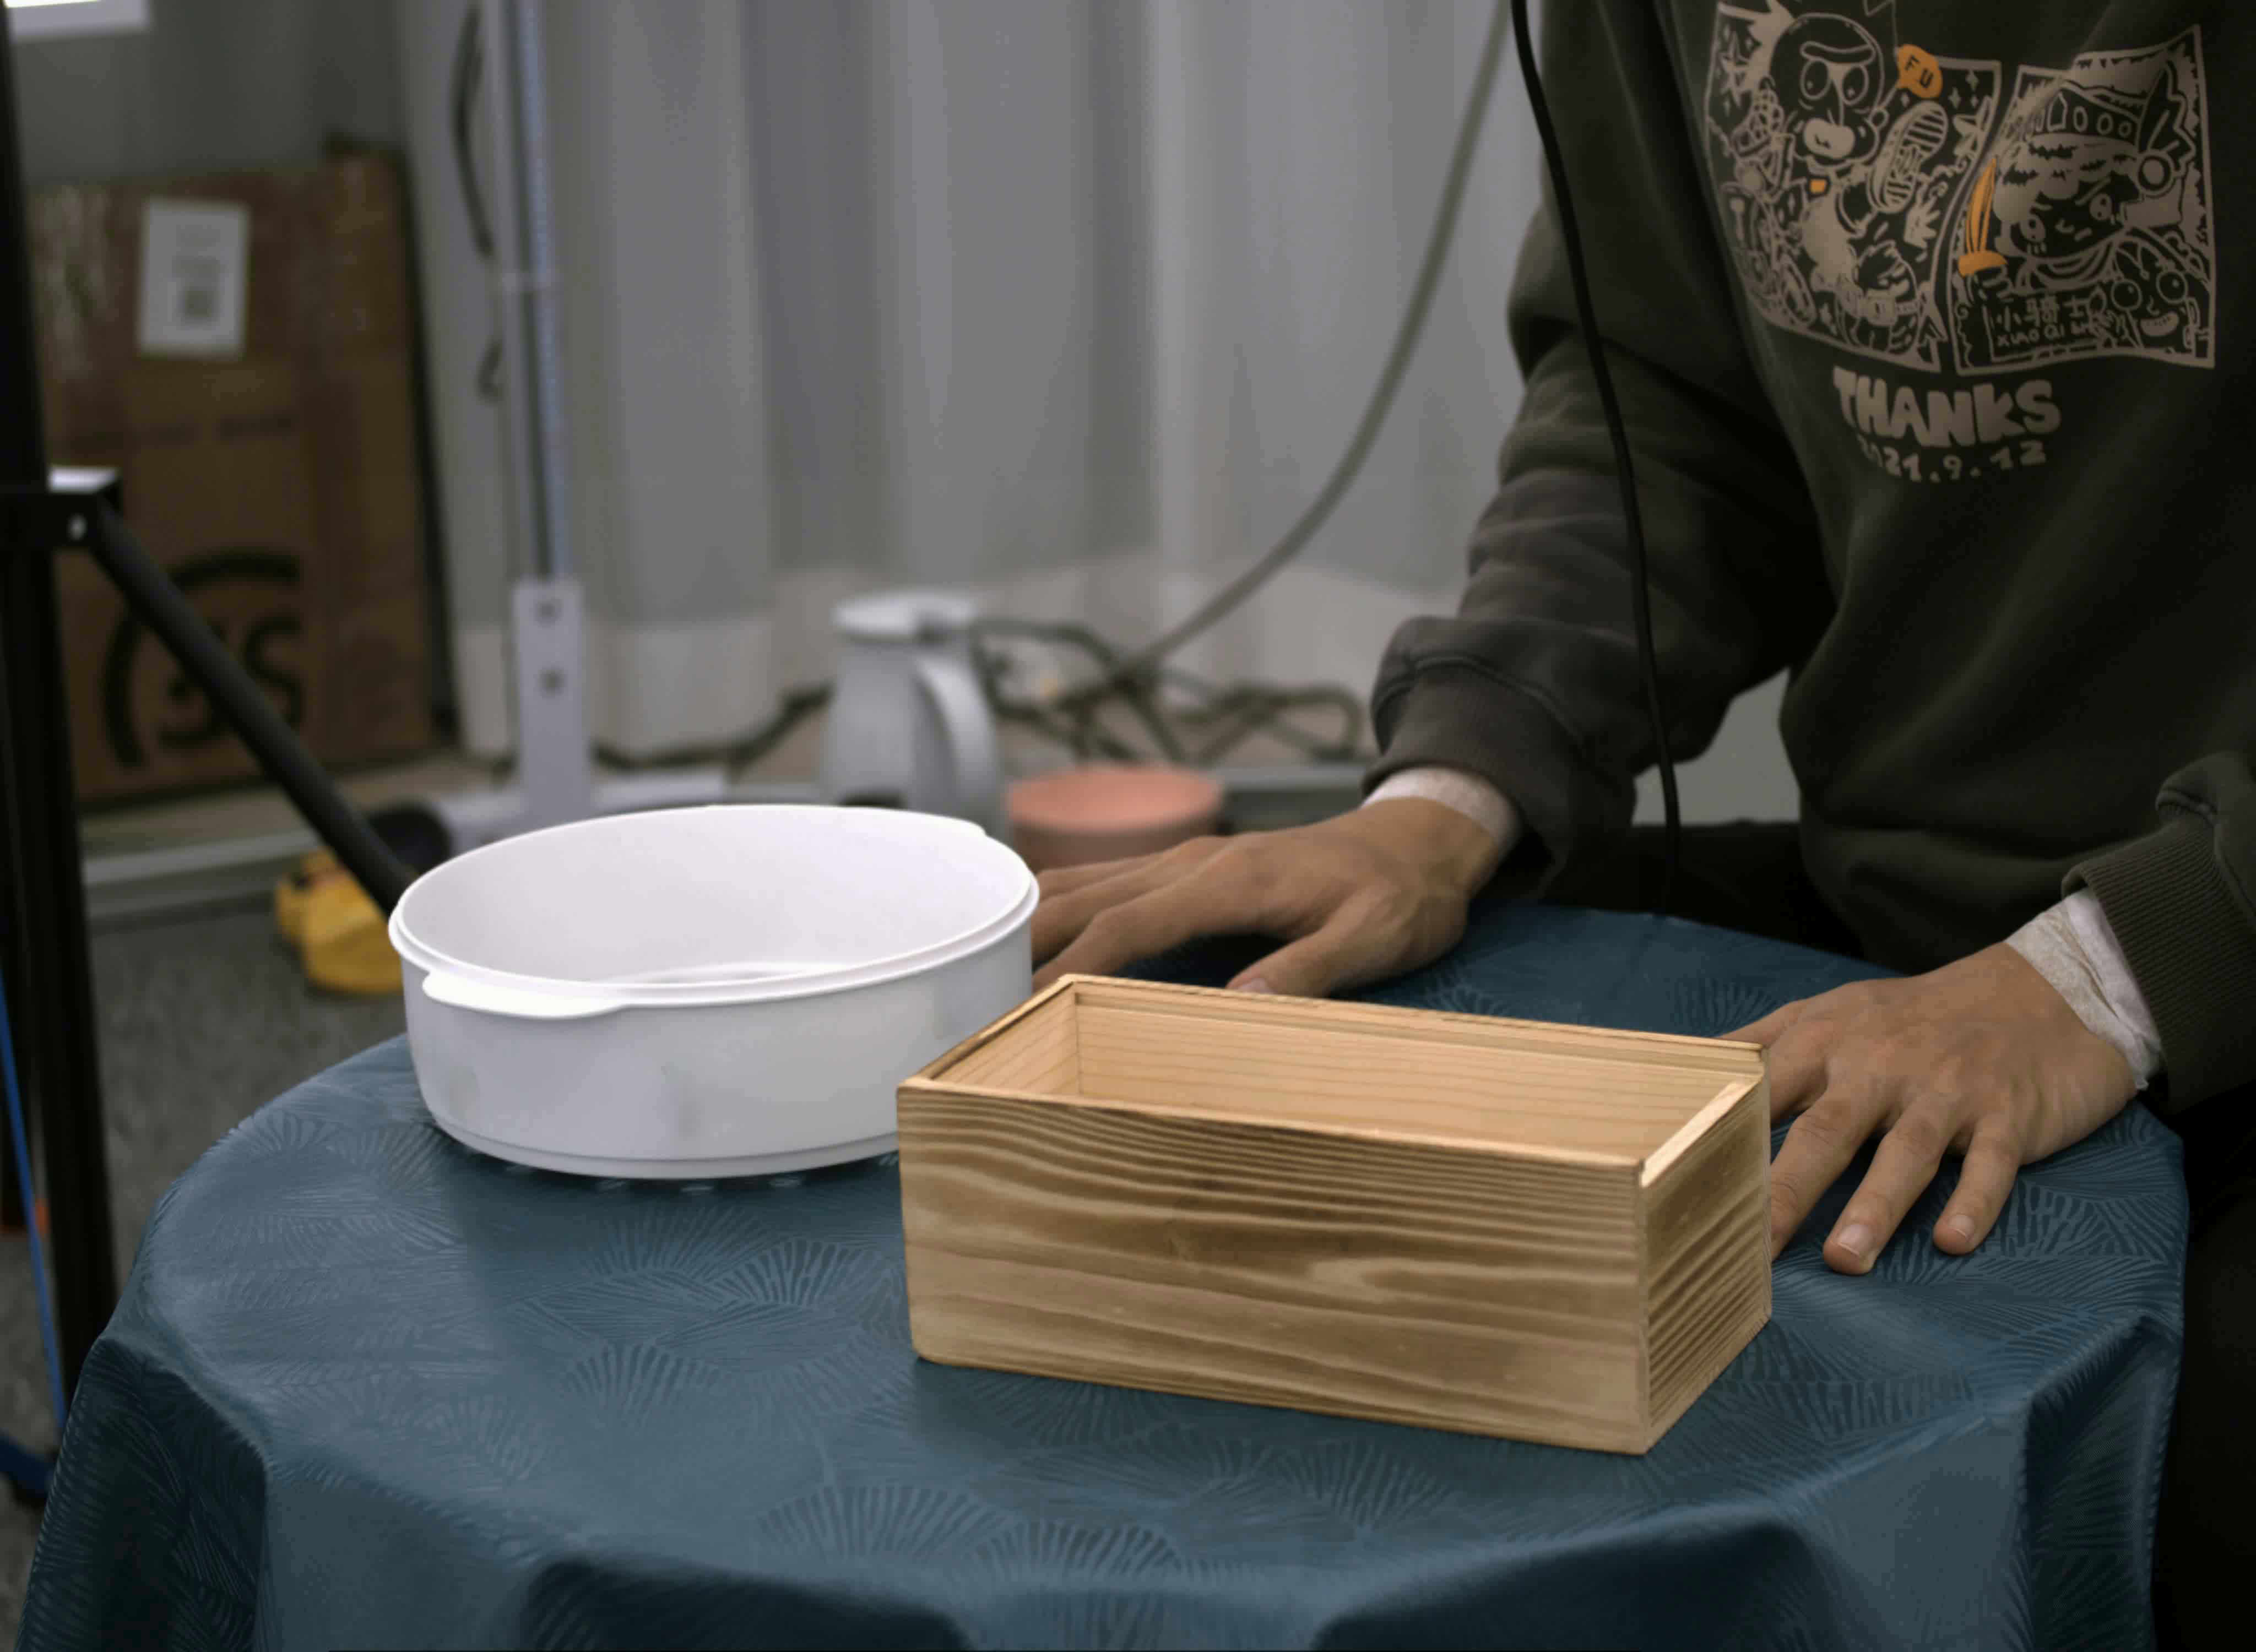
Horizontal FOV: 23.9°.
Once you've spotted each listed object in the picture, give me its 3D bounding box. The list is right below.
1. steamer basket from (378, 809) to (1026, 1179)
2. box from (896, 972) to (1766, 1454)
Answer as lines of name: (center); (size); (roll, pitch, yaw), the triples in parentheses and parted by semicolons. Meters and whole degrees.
steamer basket: (-0.131, 0.052, 1.658); (0.206, 0.069, 0.226); (9, 18, 32)
box: (0.056, 0.101, 1.429); (0.214, 0.080, 0.106); (5, 17, 26)
